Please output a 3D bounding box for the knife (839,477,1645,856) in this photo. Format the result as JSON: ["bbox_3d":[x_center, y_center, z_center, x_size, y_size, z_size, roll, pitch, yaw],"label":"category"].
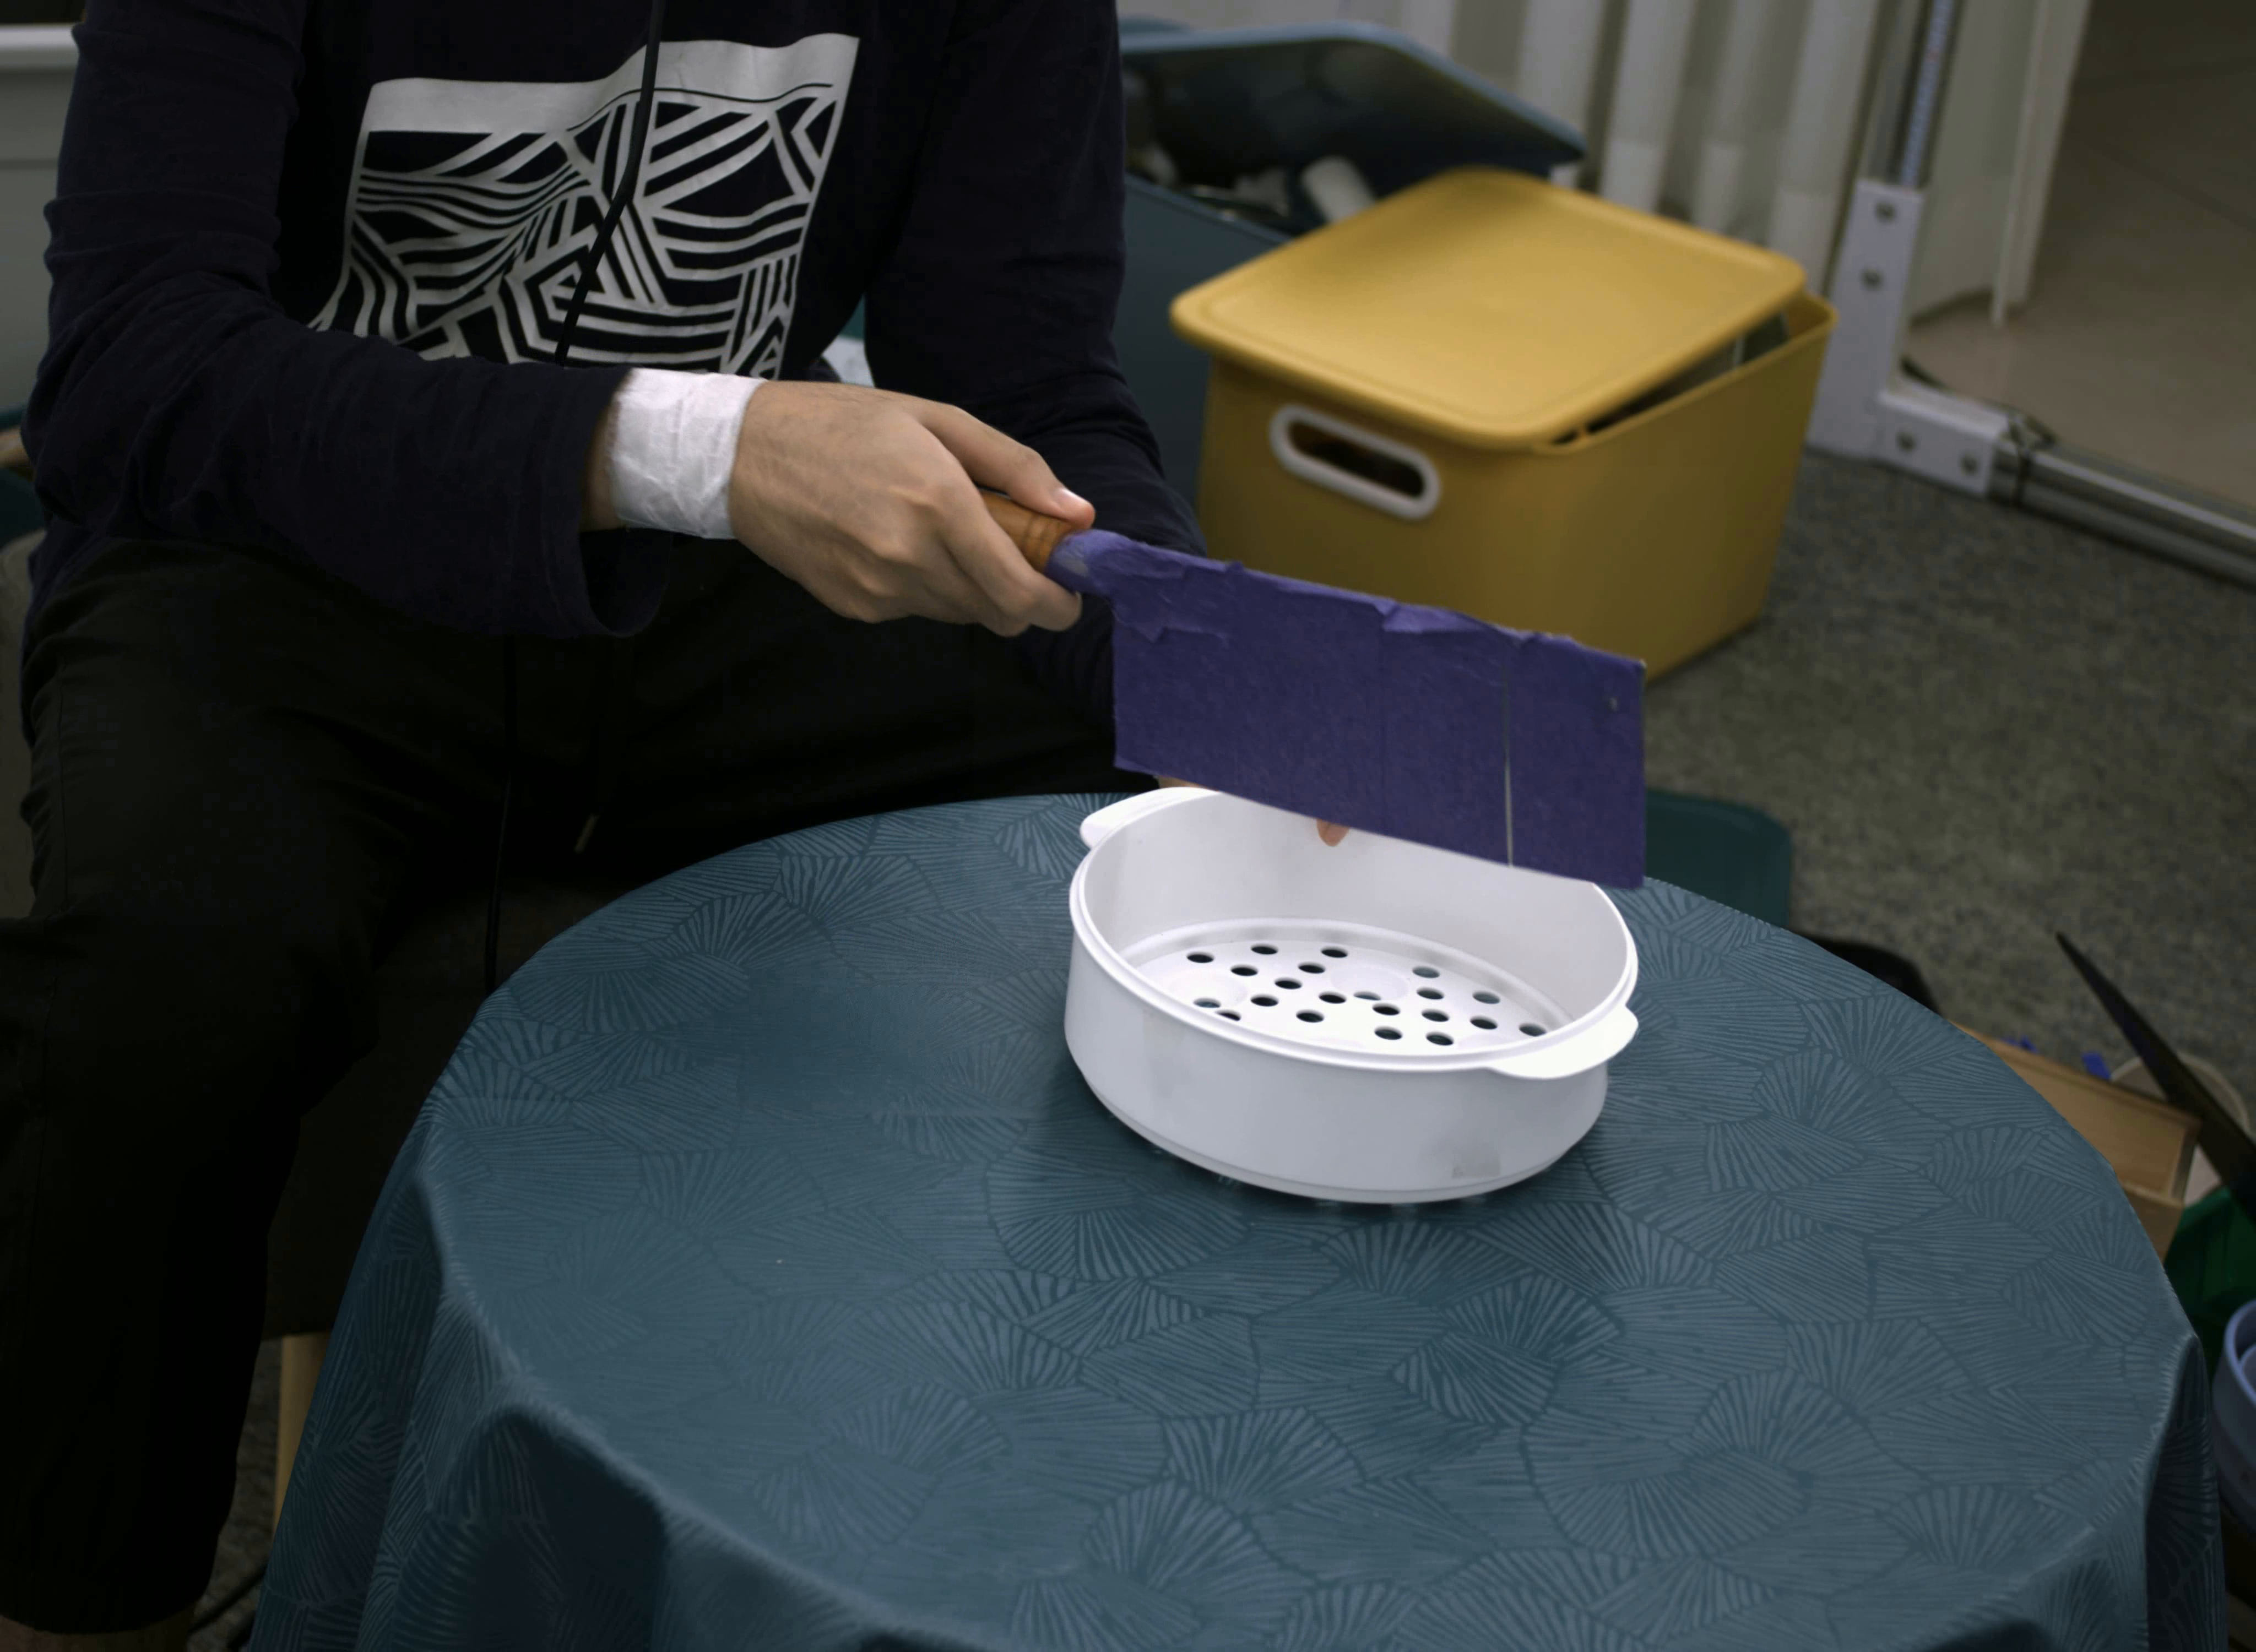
[{"bbox_3d":[0.036,-0.053,1.846,0.317,0.103,0.032,14,29,31],"label":"knife"}]

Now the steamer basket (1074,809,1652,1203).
[{"bbox_3d":[0.079,0.064,1.871,0.232,0.069,0.201,25,31,38],"label":"steamer basket"}]
